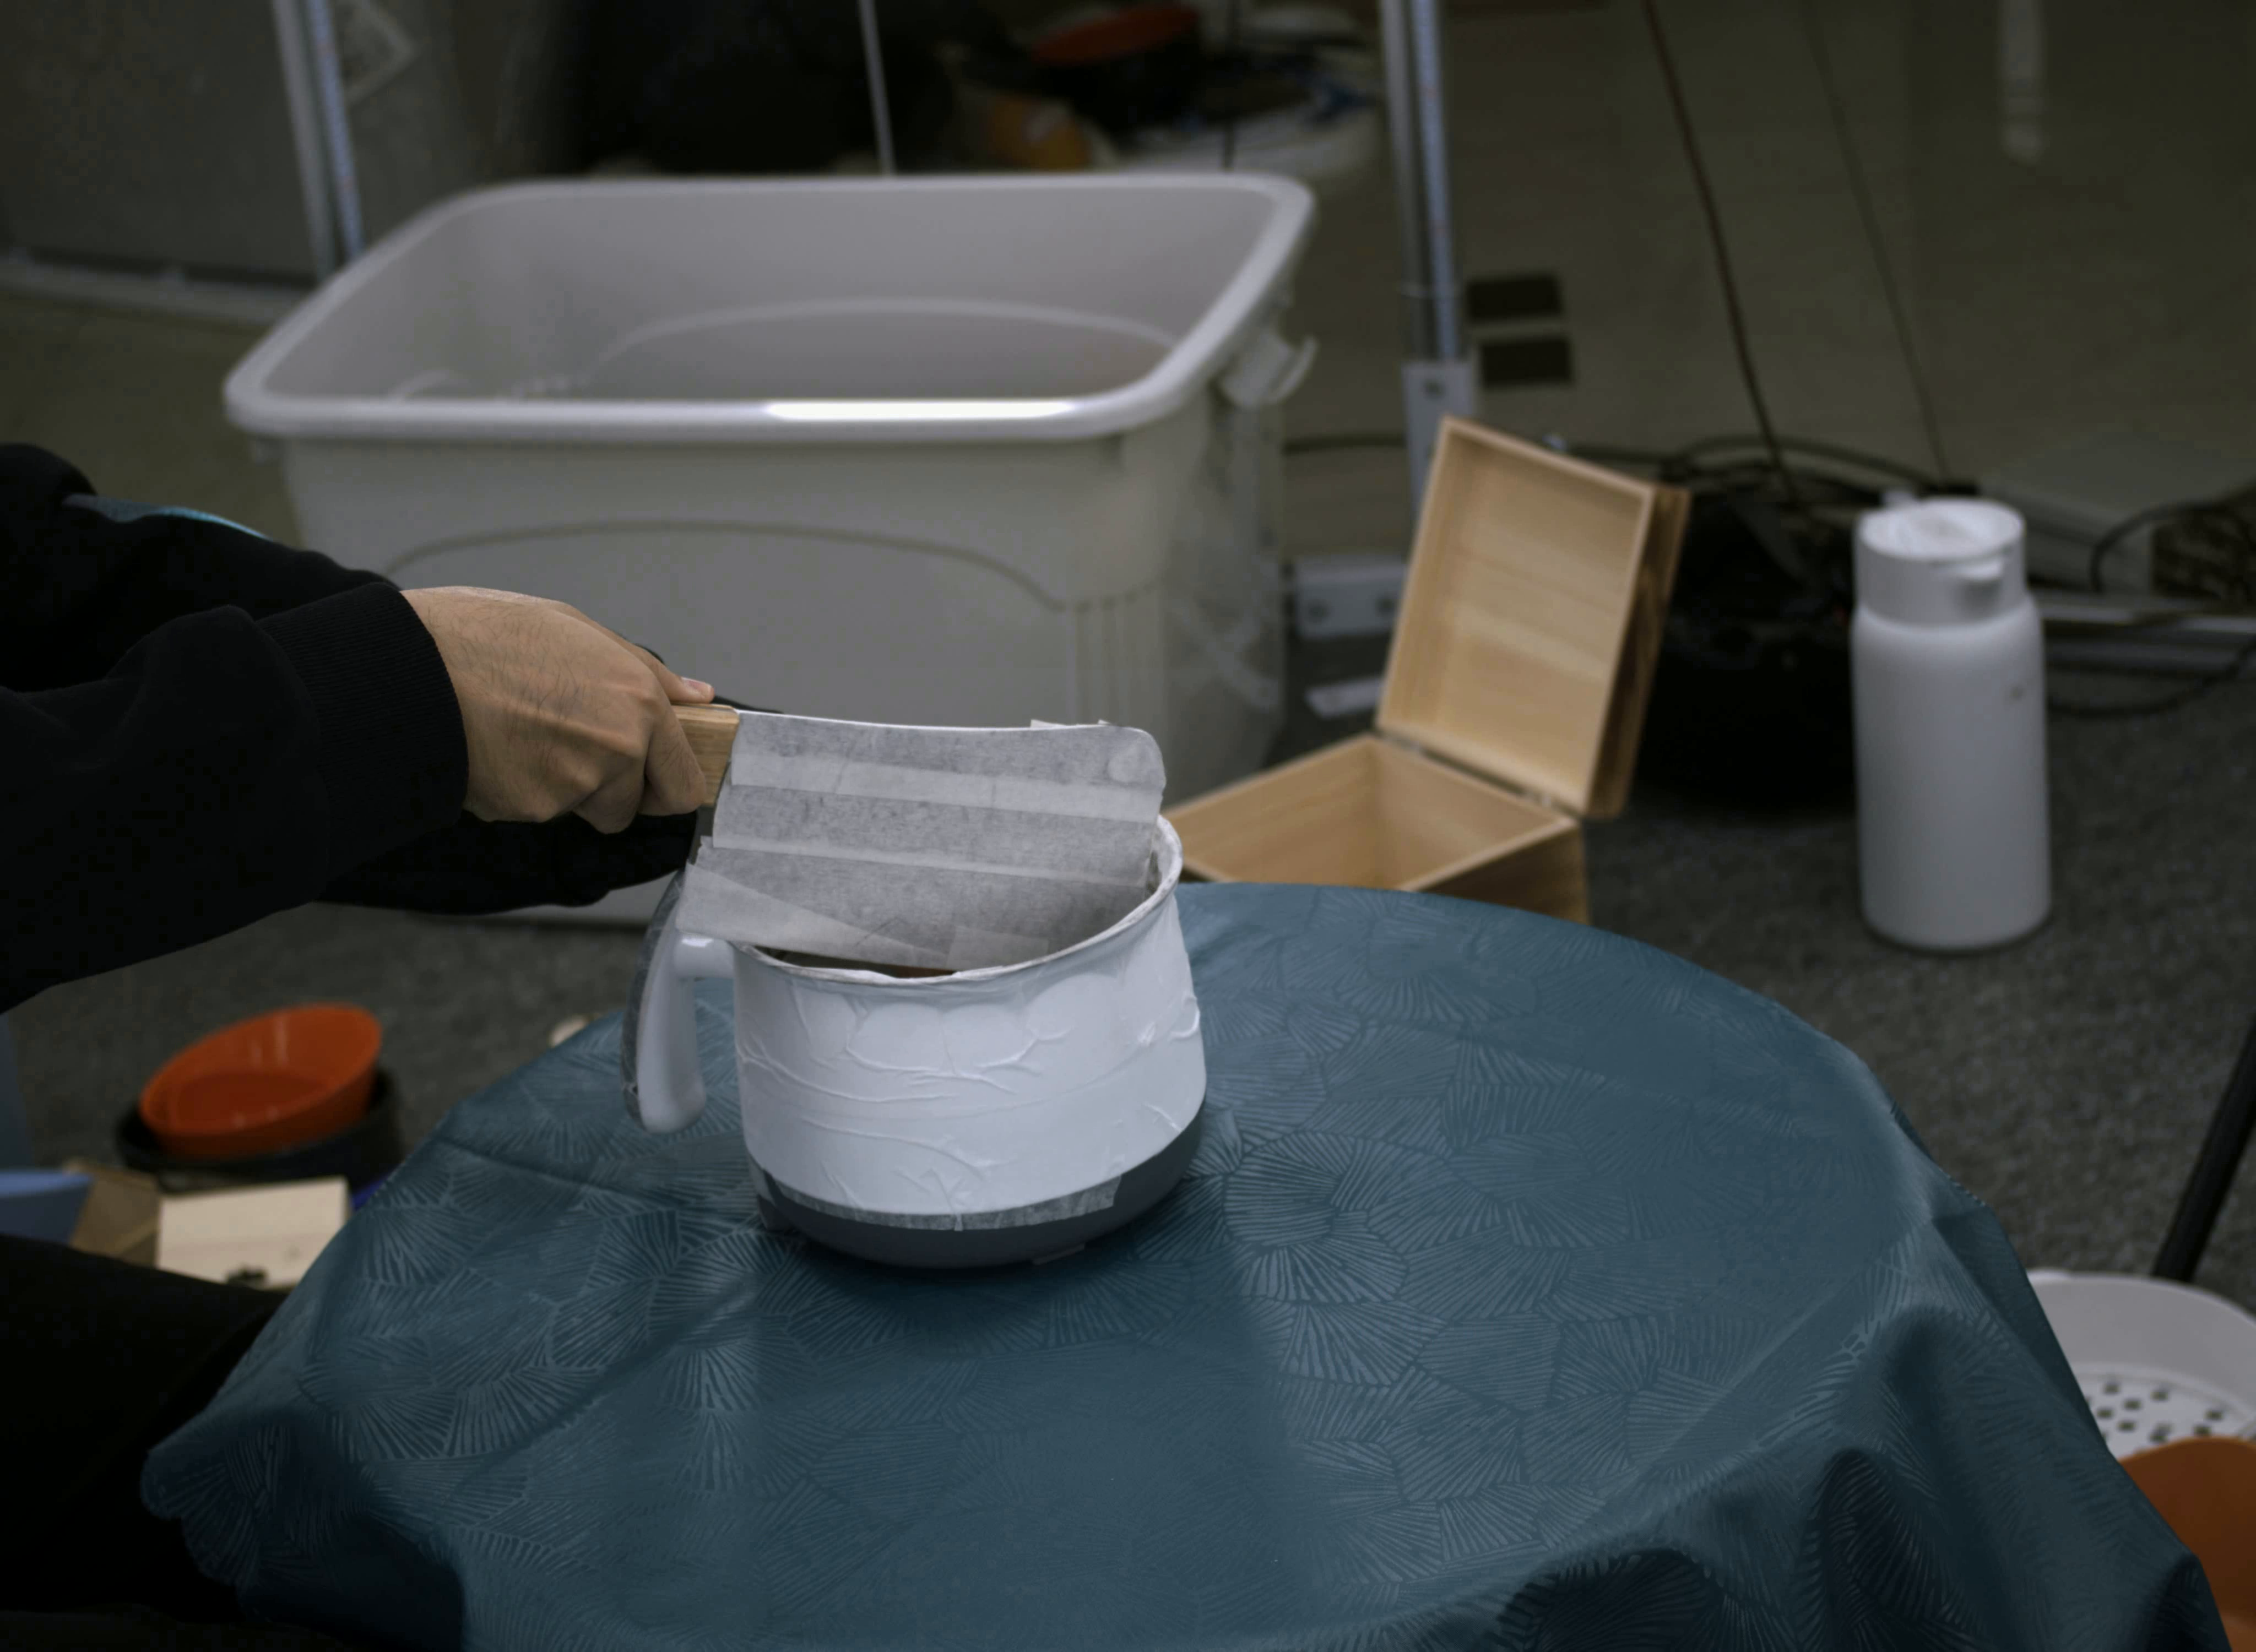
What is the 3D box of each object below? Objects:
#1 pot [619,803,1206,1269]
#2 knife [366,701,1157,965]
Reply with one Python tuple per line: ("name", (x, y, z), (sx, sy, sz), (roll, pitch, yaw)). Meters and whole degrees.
("pot", (-0.087, 0.074, 2.142), (0.233, 0.139, 0.176), (4, 27, 19))
("knife", (-0.126, -0.008, 2.053), (0.316, 0.115, 0.021), (10, 14, -26))
